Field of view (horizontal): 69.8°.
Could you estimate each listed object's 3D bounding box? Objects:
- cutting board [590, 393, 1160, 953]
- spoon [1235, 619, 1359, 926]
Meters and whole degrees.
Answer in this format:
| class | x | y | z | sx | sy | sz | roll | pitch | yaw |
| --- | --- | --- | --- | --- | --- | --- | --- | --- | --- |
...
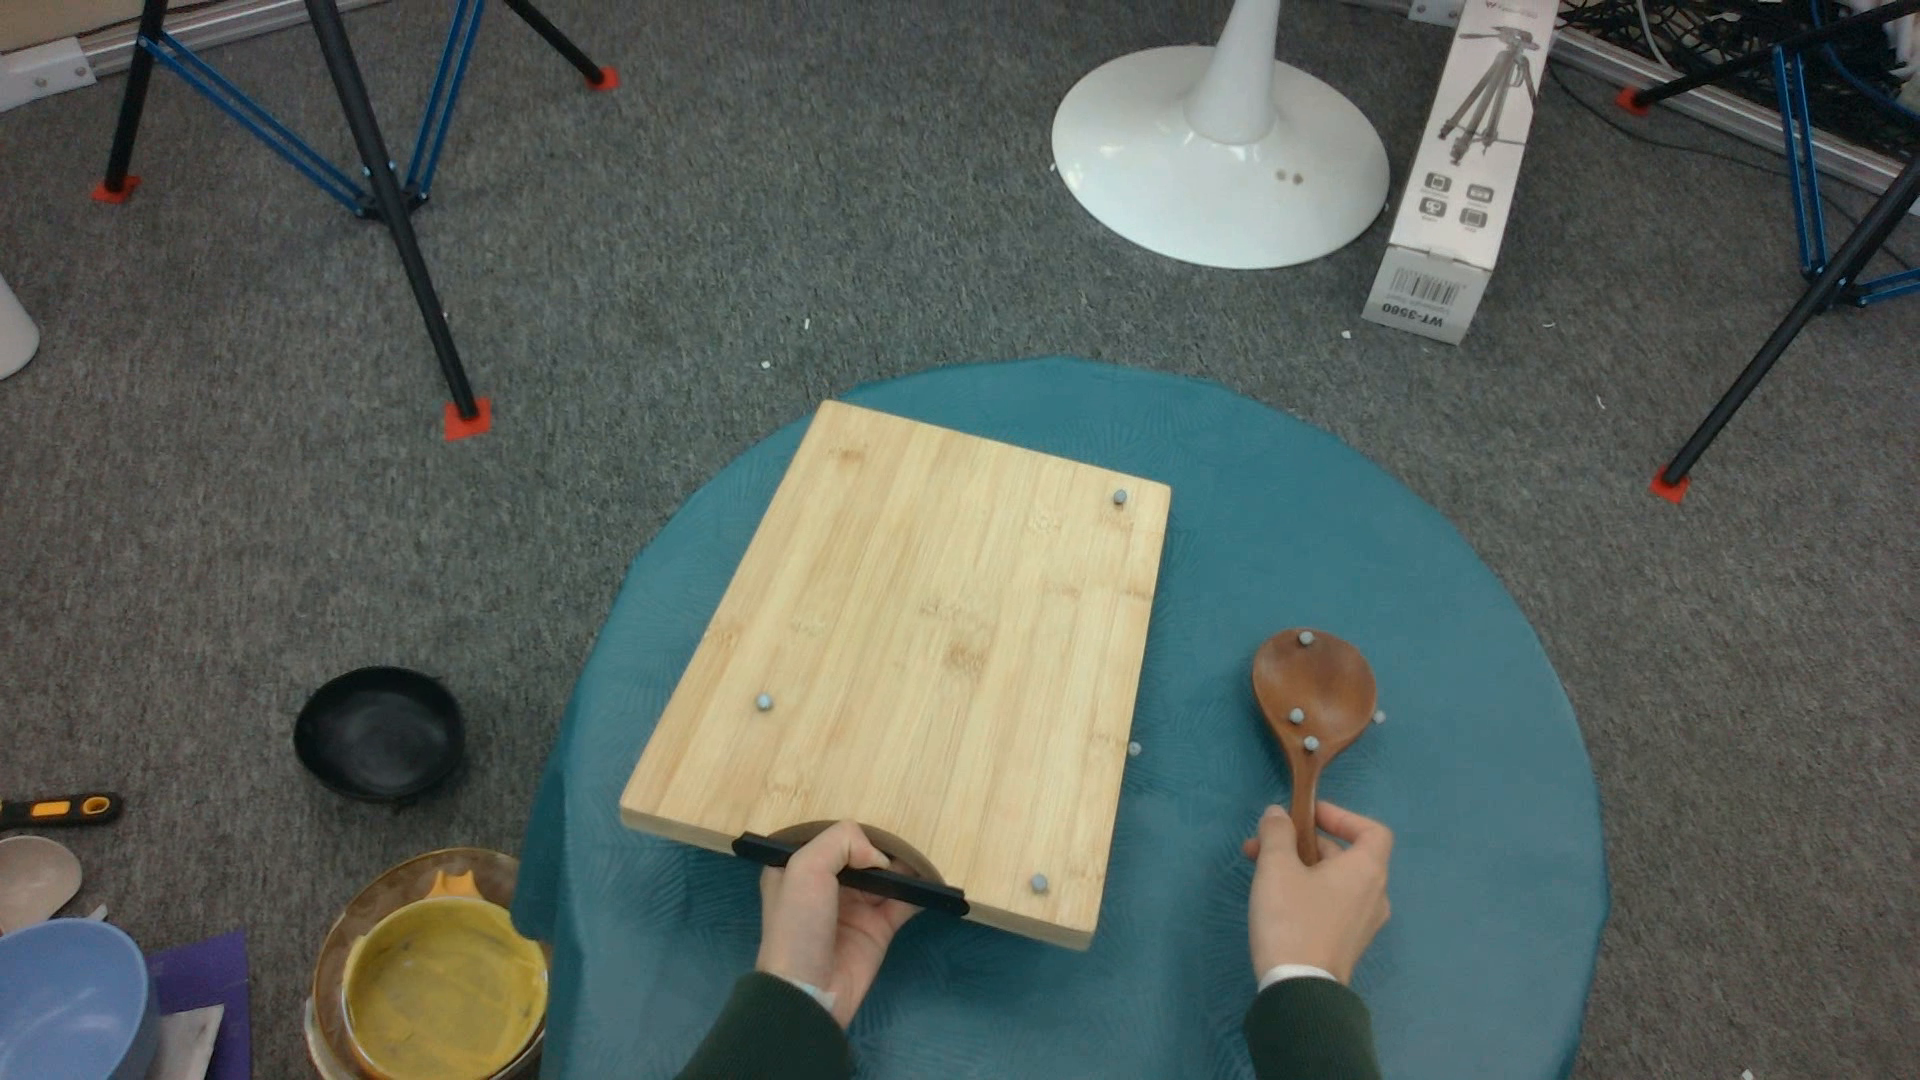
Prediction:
| class | x | y | z | sx | sy | sz | roll | pitch | yaw |
| --- | --- | --- | --- | --- | --- | --- | --- | --- | --- |
| cutting board | -0.025 | 0.051 | 0.786 | 0.250 | 0.023 | 0.350 | 13 | 43 | 3 |
| spoon | 0.183 | 0.123 | 0.767 | 0.075 | 0.017 | 0.217 | 16 | 42 | 4 |
